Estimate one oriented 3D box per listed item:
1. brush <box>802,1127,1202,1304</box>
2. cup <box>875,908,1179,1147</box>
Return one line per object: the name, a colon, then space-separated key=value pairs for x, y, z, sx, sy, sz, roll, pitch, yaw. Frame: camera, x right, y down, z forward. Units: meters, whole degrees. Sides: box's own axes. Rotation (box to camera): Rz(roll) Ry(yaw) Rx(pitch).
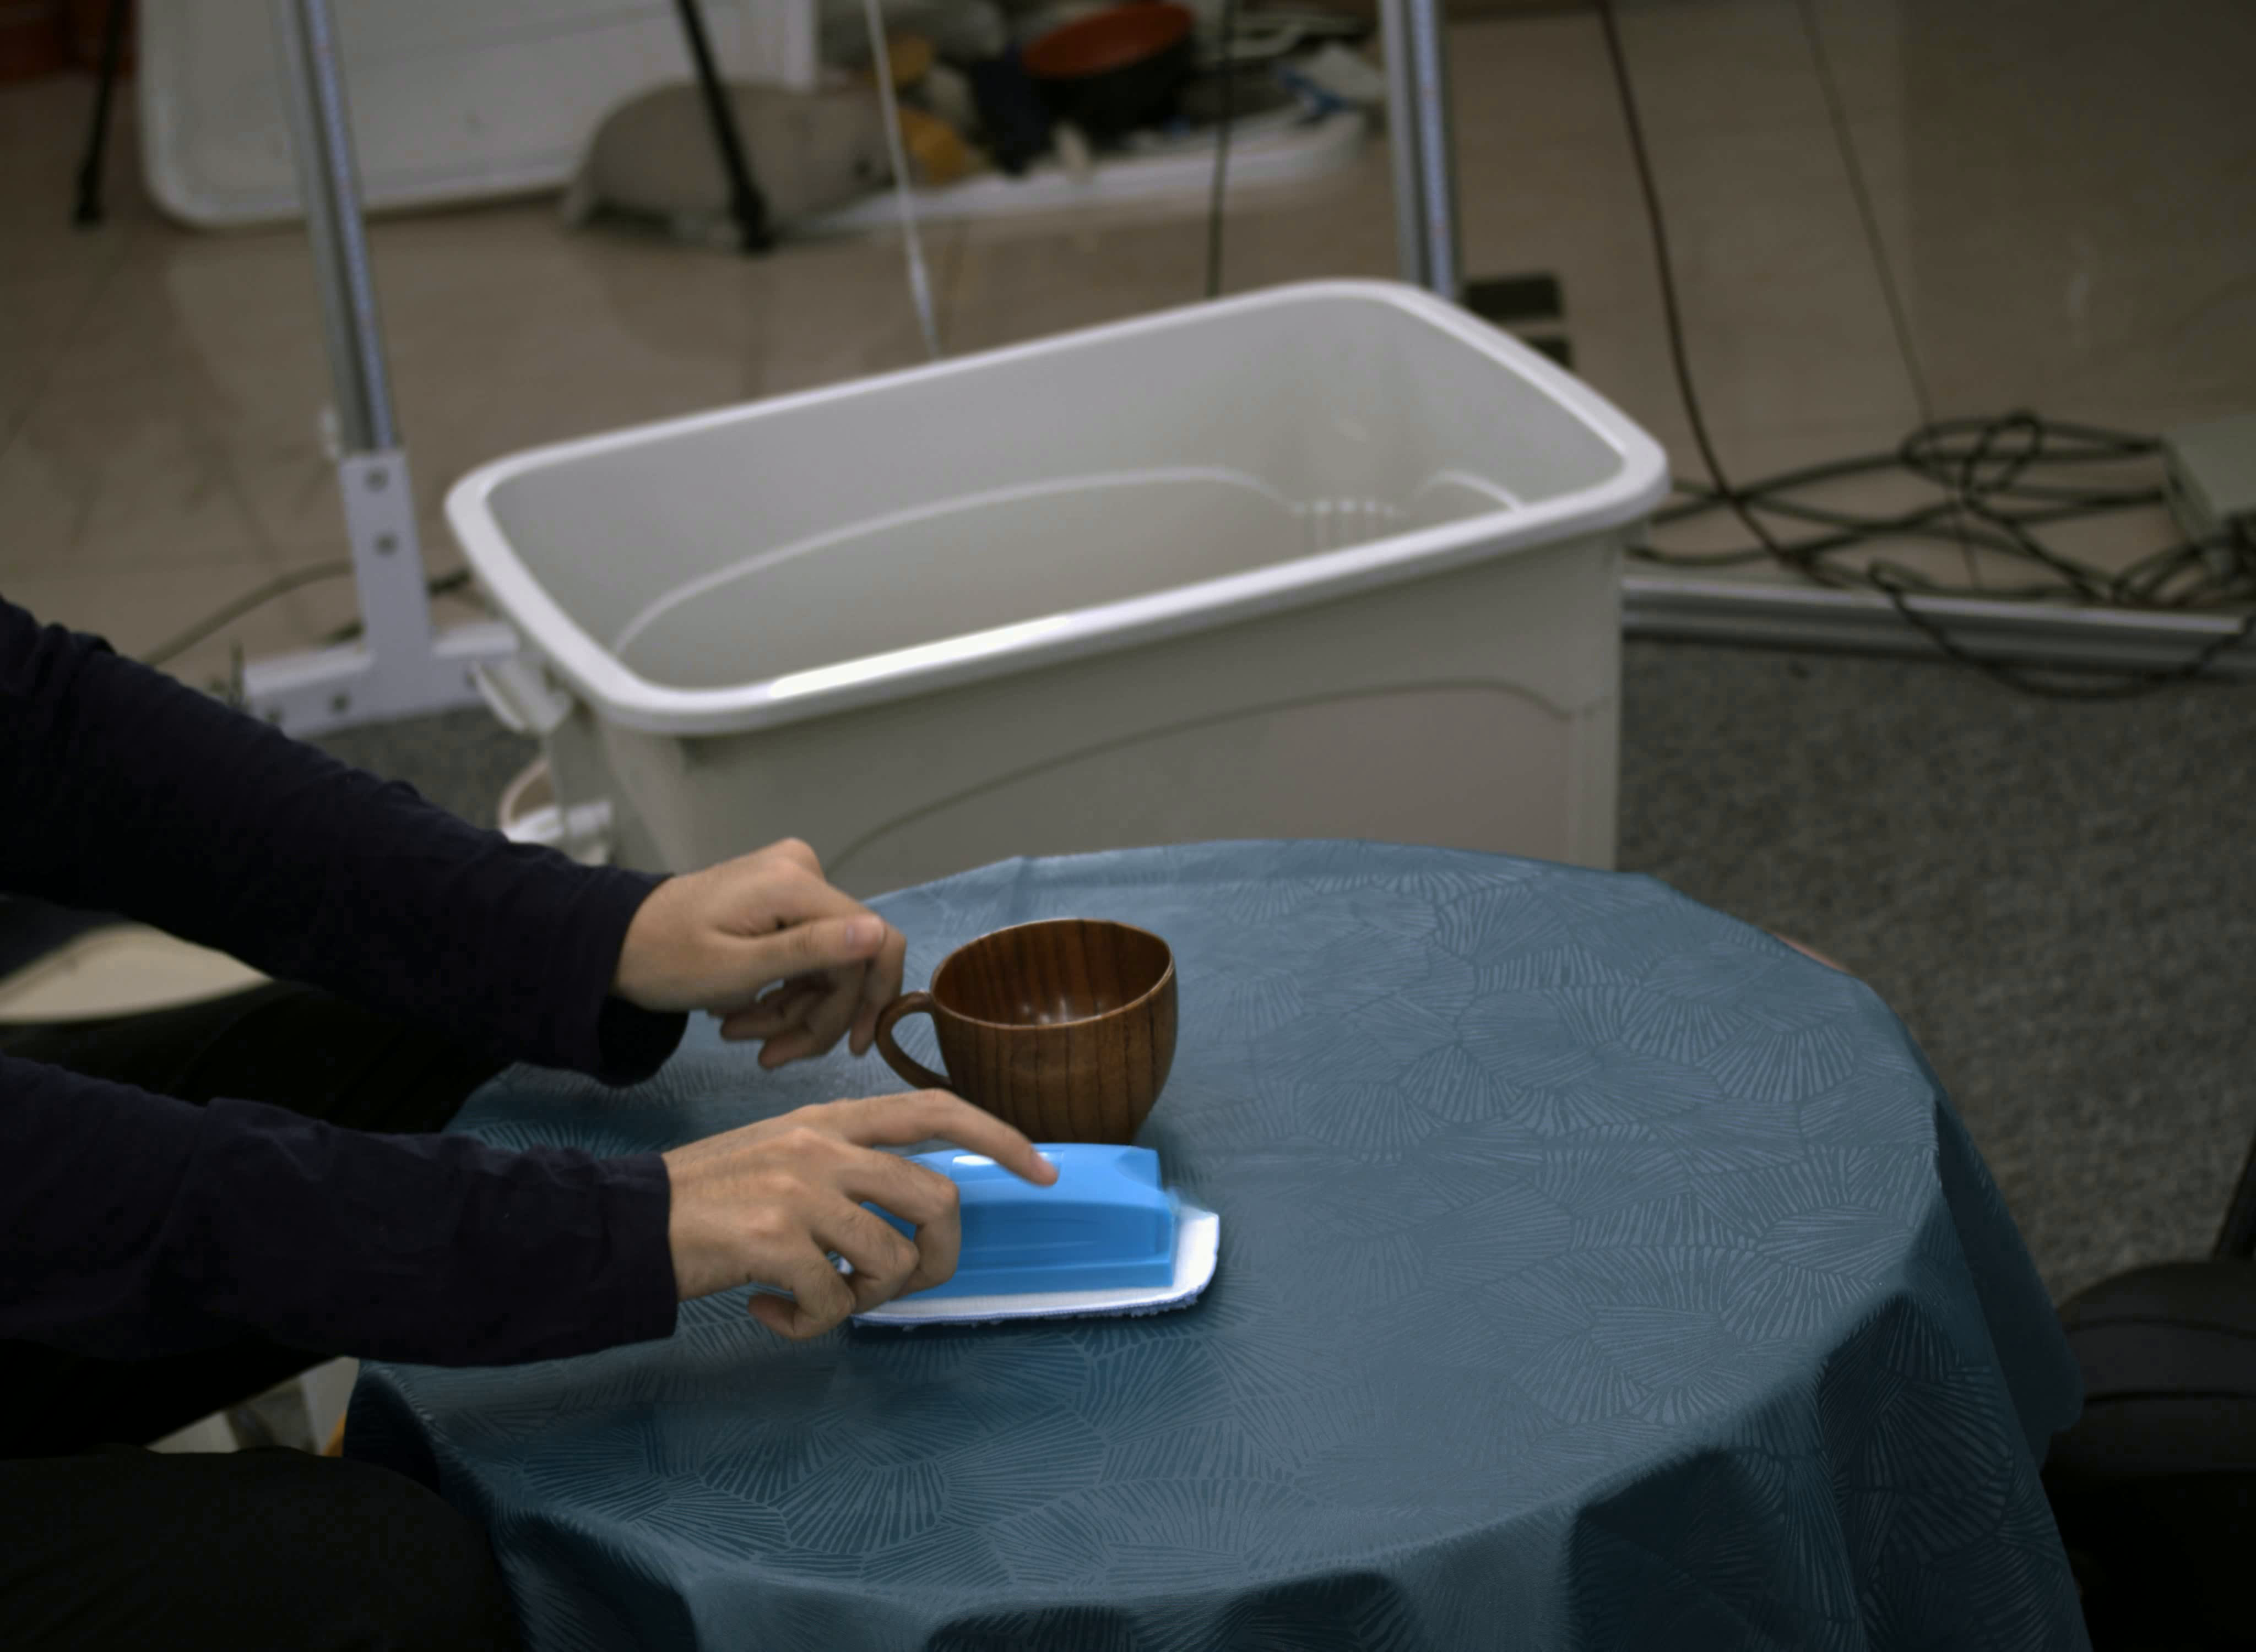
brush: x=-0.046 y=0.141 z=2.081 sx=0.143 sy=0.057 sz=0.083 roll=0 pitch=23 yaw=7
cup: x=-0.037 y=0.085 z=2.195 sx=0.119 sy=0.069 sz=0.094 roll=-9 pitch=29 yaw=0
